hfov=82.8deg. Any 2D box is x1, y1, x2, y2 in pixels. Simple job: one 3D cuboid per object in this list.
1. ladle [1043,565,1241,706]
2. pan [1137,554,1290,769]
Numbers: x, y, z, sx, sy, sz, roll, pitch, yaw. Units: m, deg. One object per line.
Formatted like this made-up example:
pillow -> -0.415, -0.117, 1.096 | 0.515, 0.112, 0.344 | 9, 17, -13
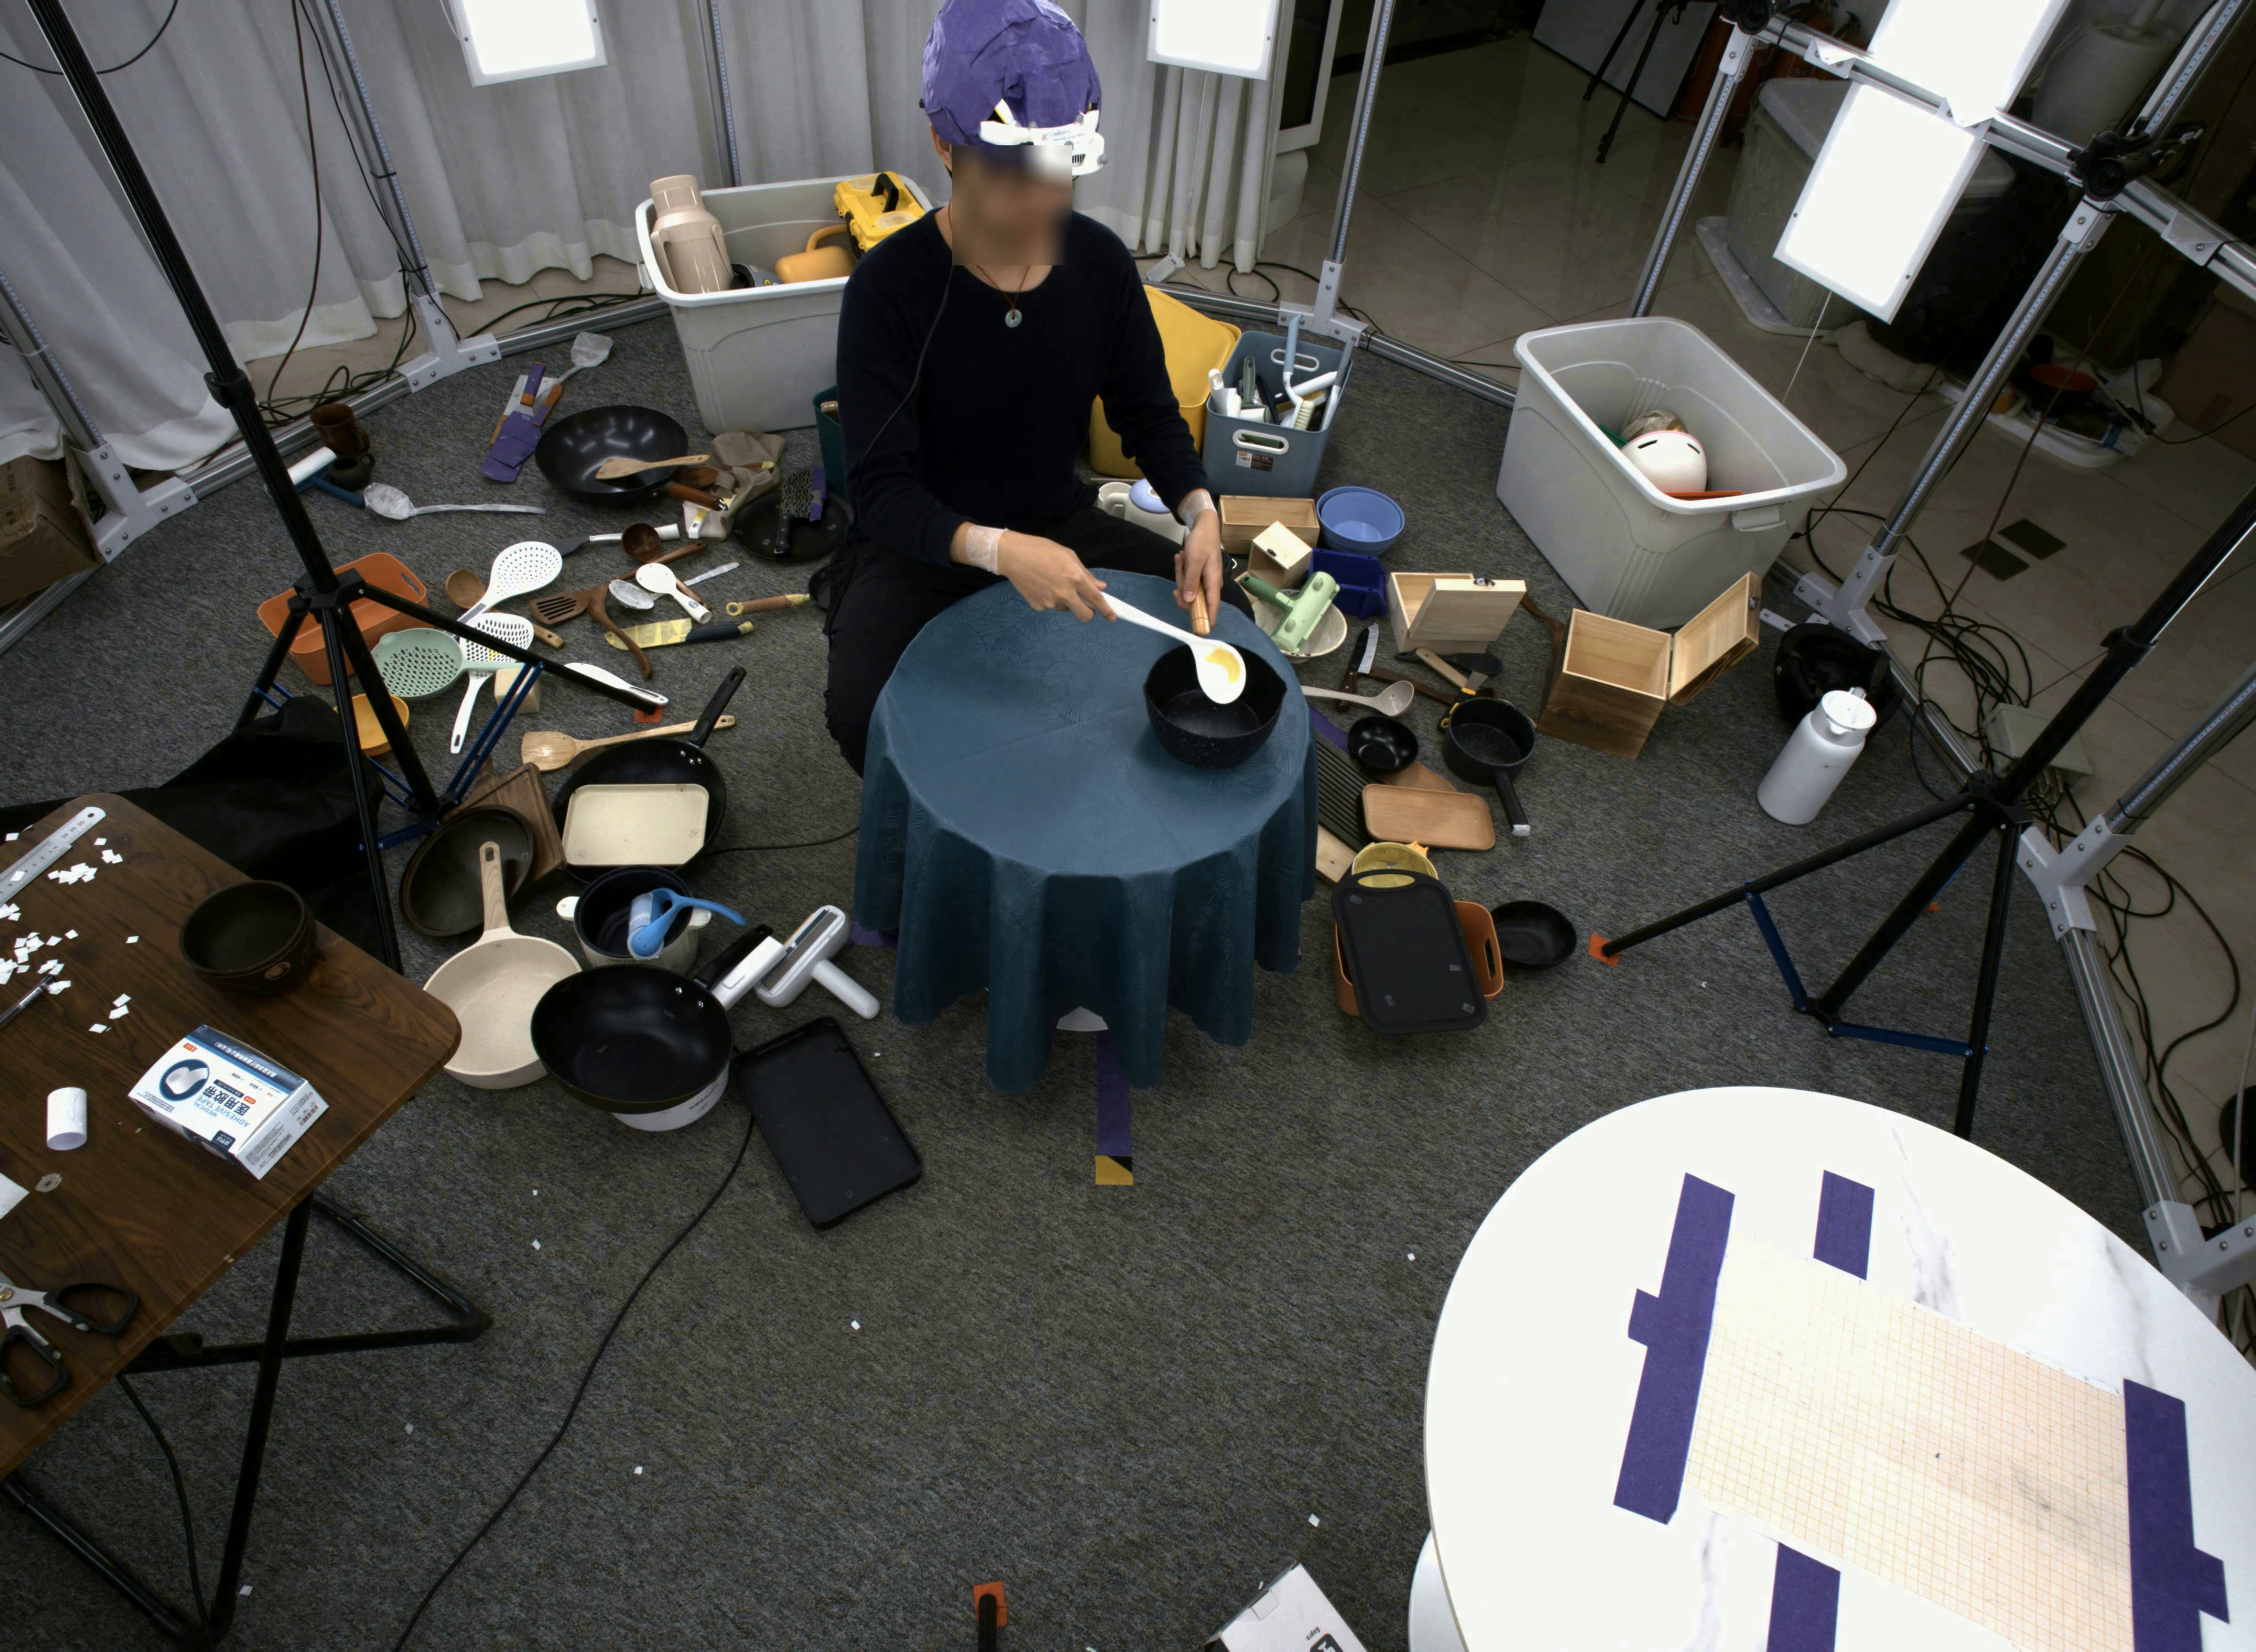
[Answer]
ladle -> 0.019, -0.251, 1.693 | 0.291, 0.089, 0.071 | 24, 61, -12
pan -> 0.105, -0.231, 1.804 | 0.207, 0.105, 0.351 | -4, 52, -6
